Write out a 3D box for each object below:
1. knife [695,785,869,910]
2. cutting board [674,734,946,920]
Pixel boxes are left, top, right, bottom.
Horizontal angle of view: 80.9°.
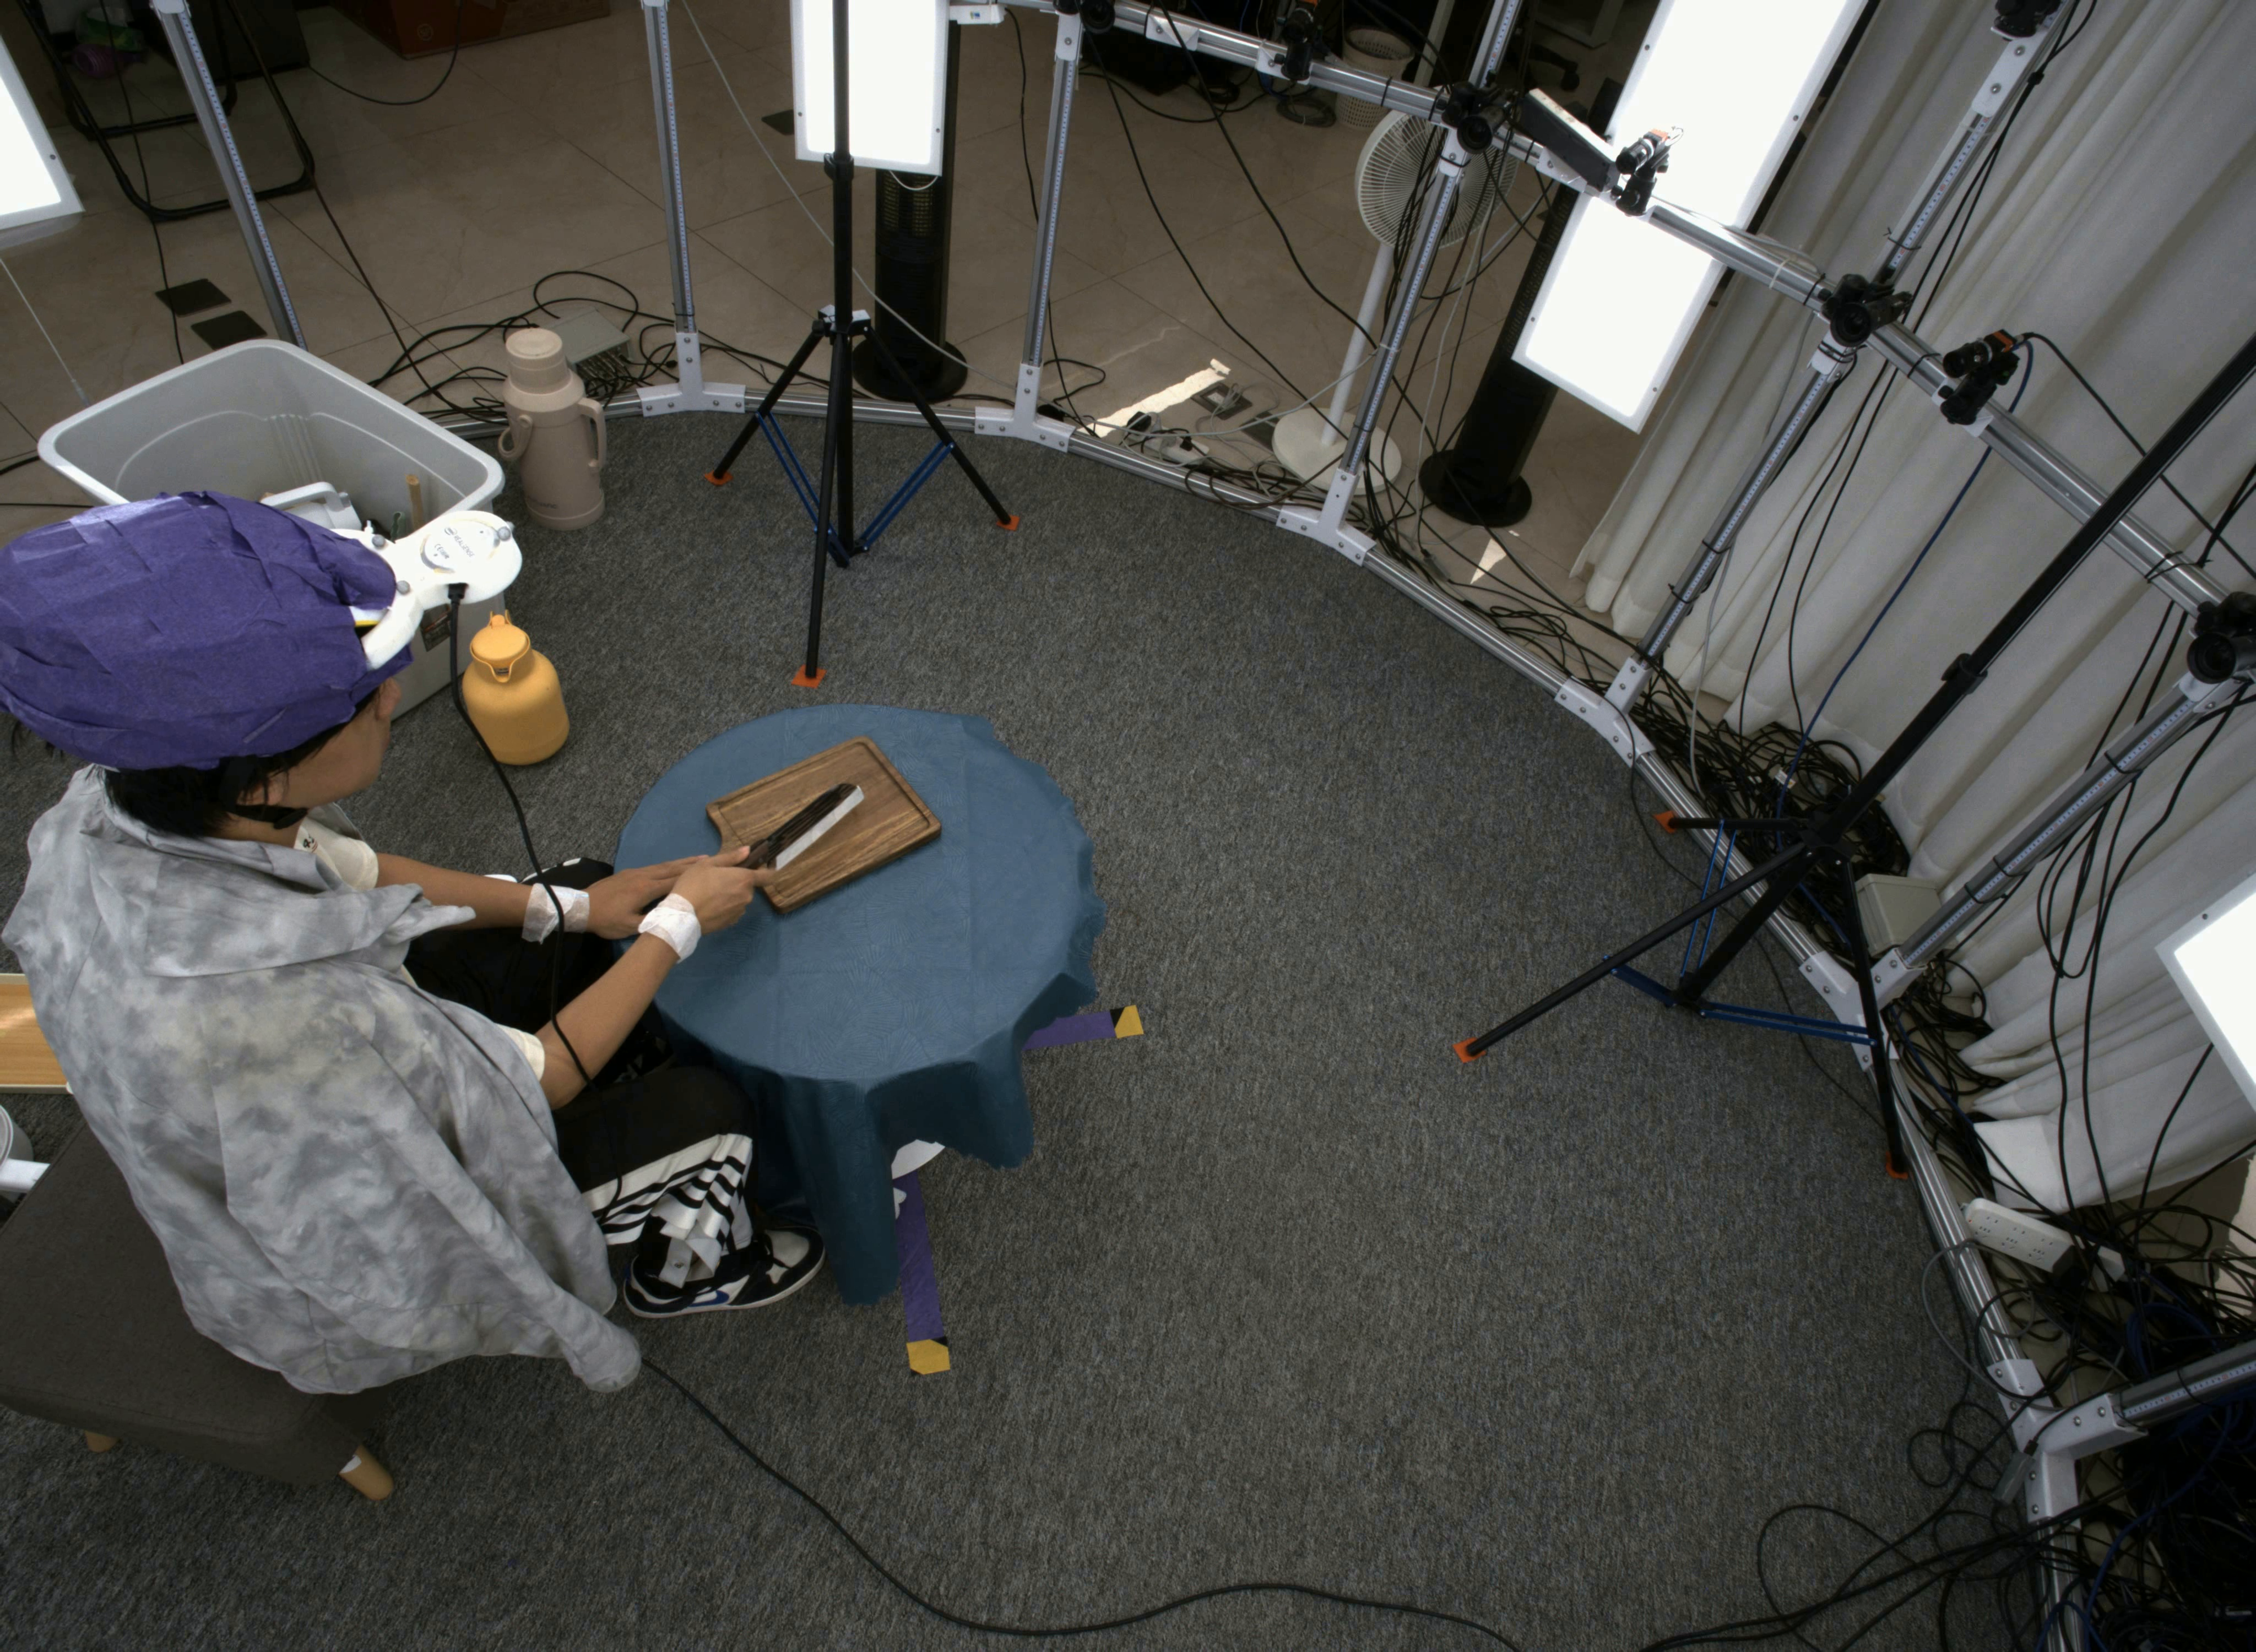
[{"bbox_3d":[-0.428,0.026,1.633,0.023,0.070,0.299,27,47,20],"label":"knife"},{"bbox_3d":[-0.435,0.015,1.703,0.353,0.023,0.196,-30,67,-29],"label":"cutting board"}]
